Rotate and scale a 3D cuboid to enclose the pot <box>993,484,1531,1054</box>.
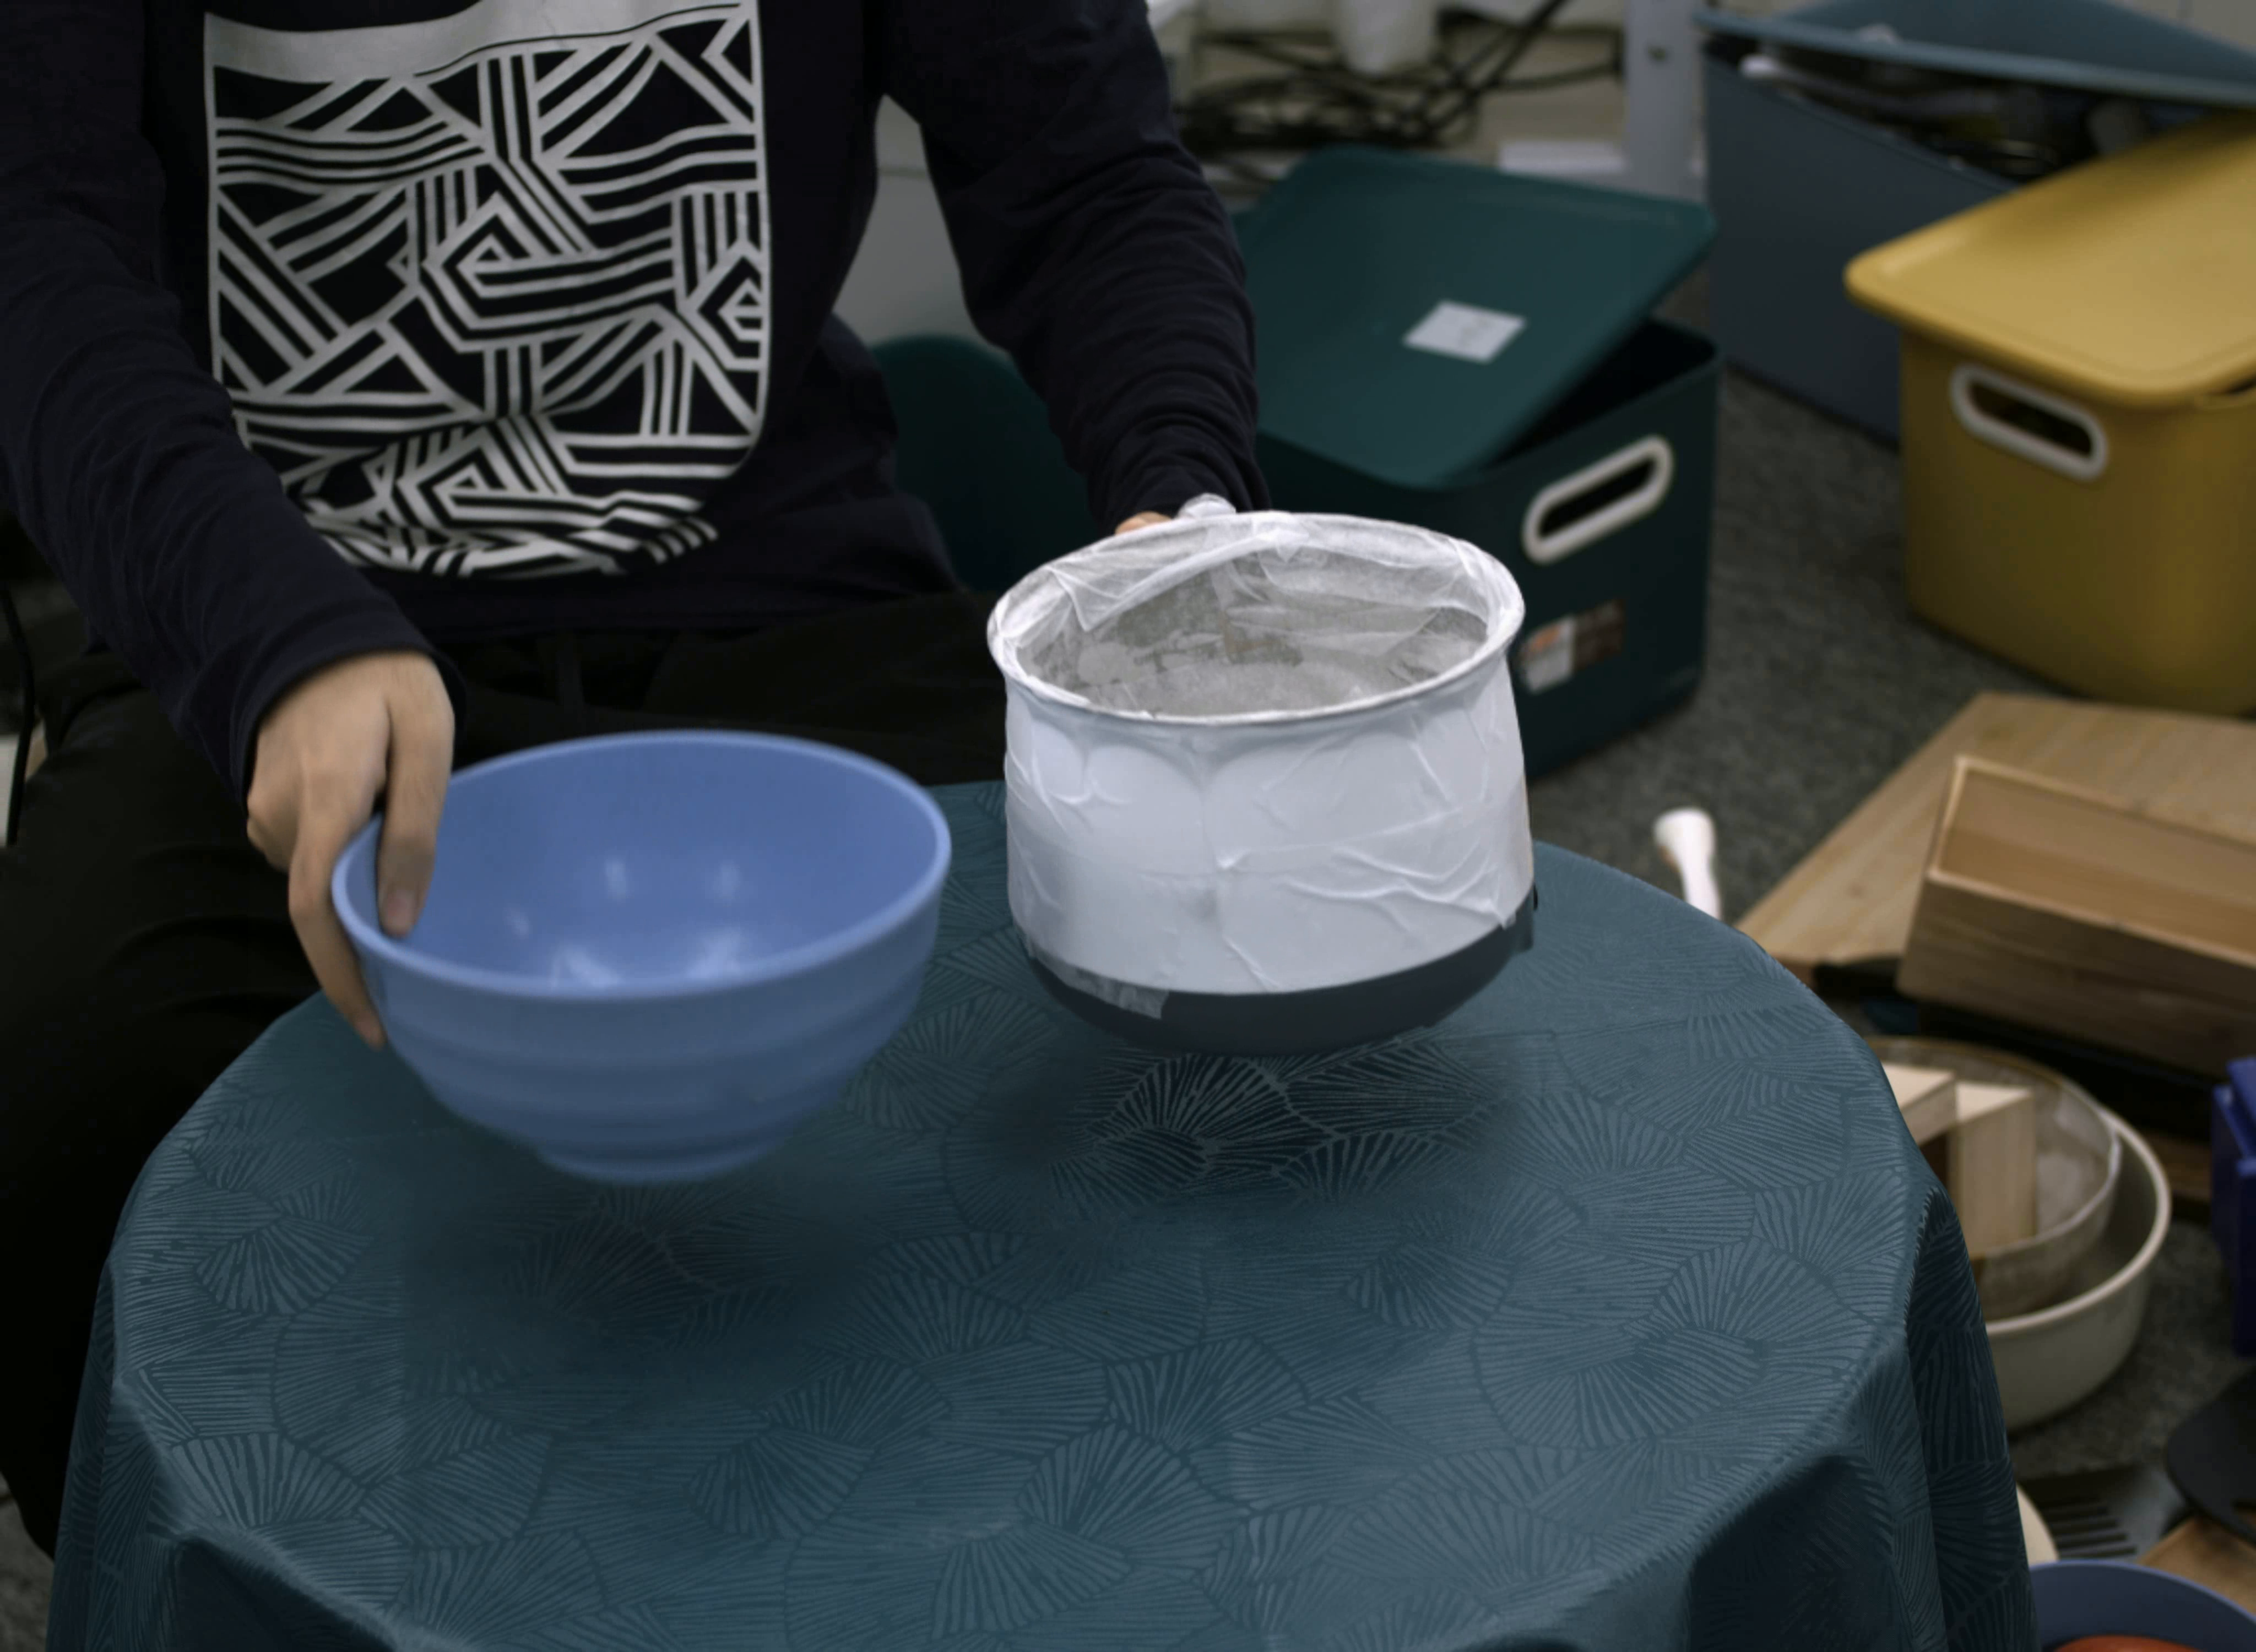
[{"bbox_3d":[0.040,-0.026,1.894,0.178,0.135,0.236,-5,24,-9],"label":"pot"}]

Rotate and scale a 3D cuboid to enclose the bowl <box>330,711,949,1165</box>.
[{"bbox_3d":[-0.151,0.045,1.792,0.195,0.094,0.199,-3,25,2],"label":"bowl"}]
